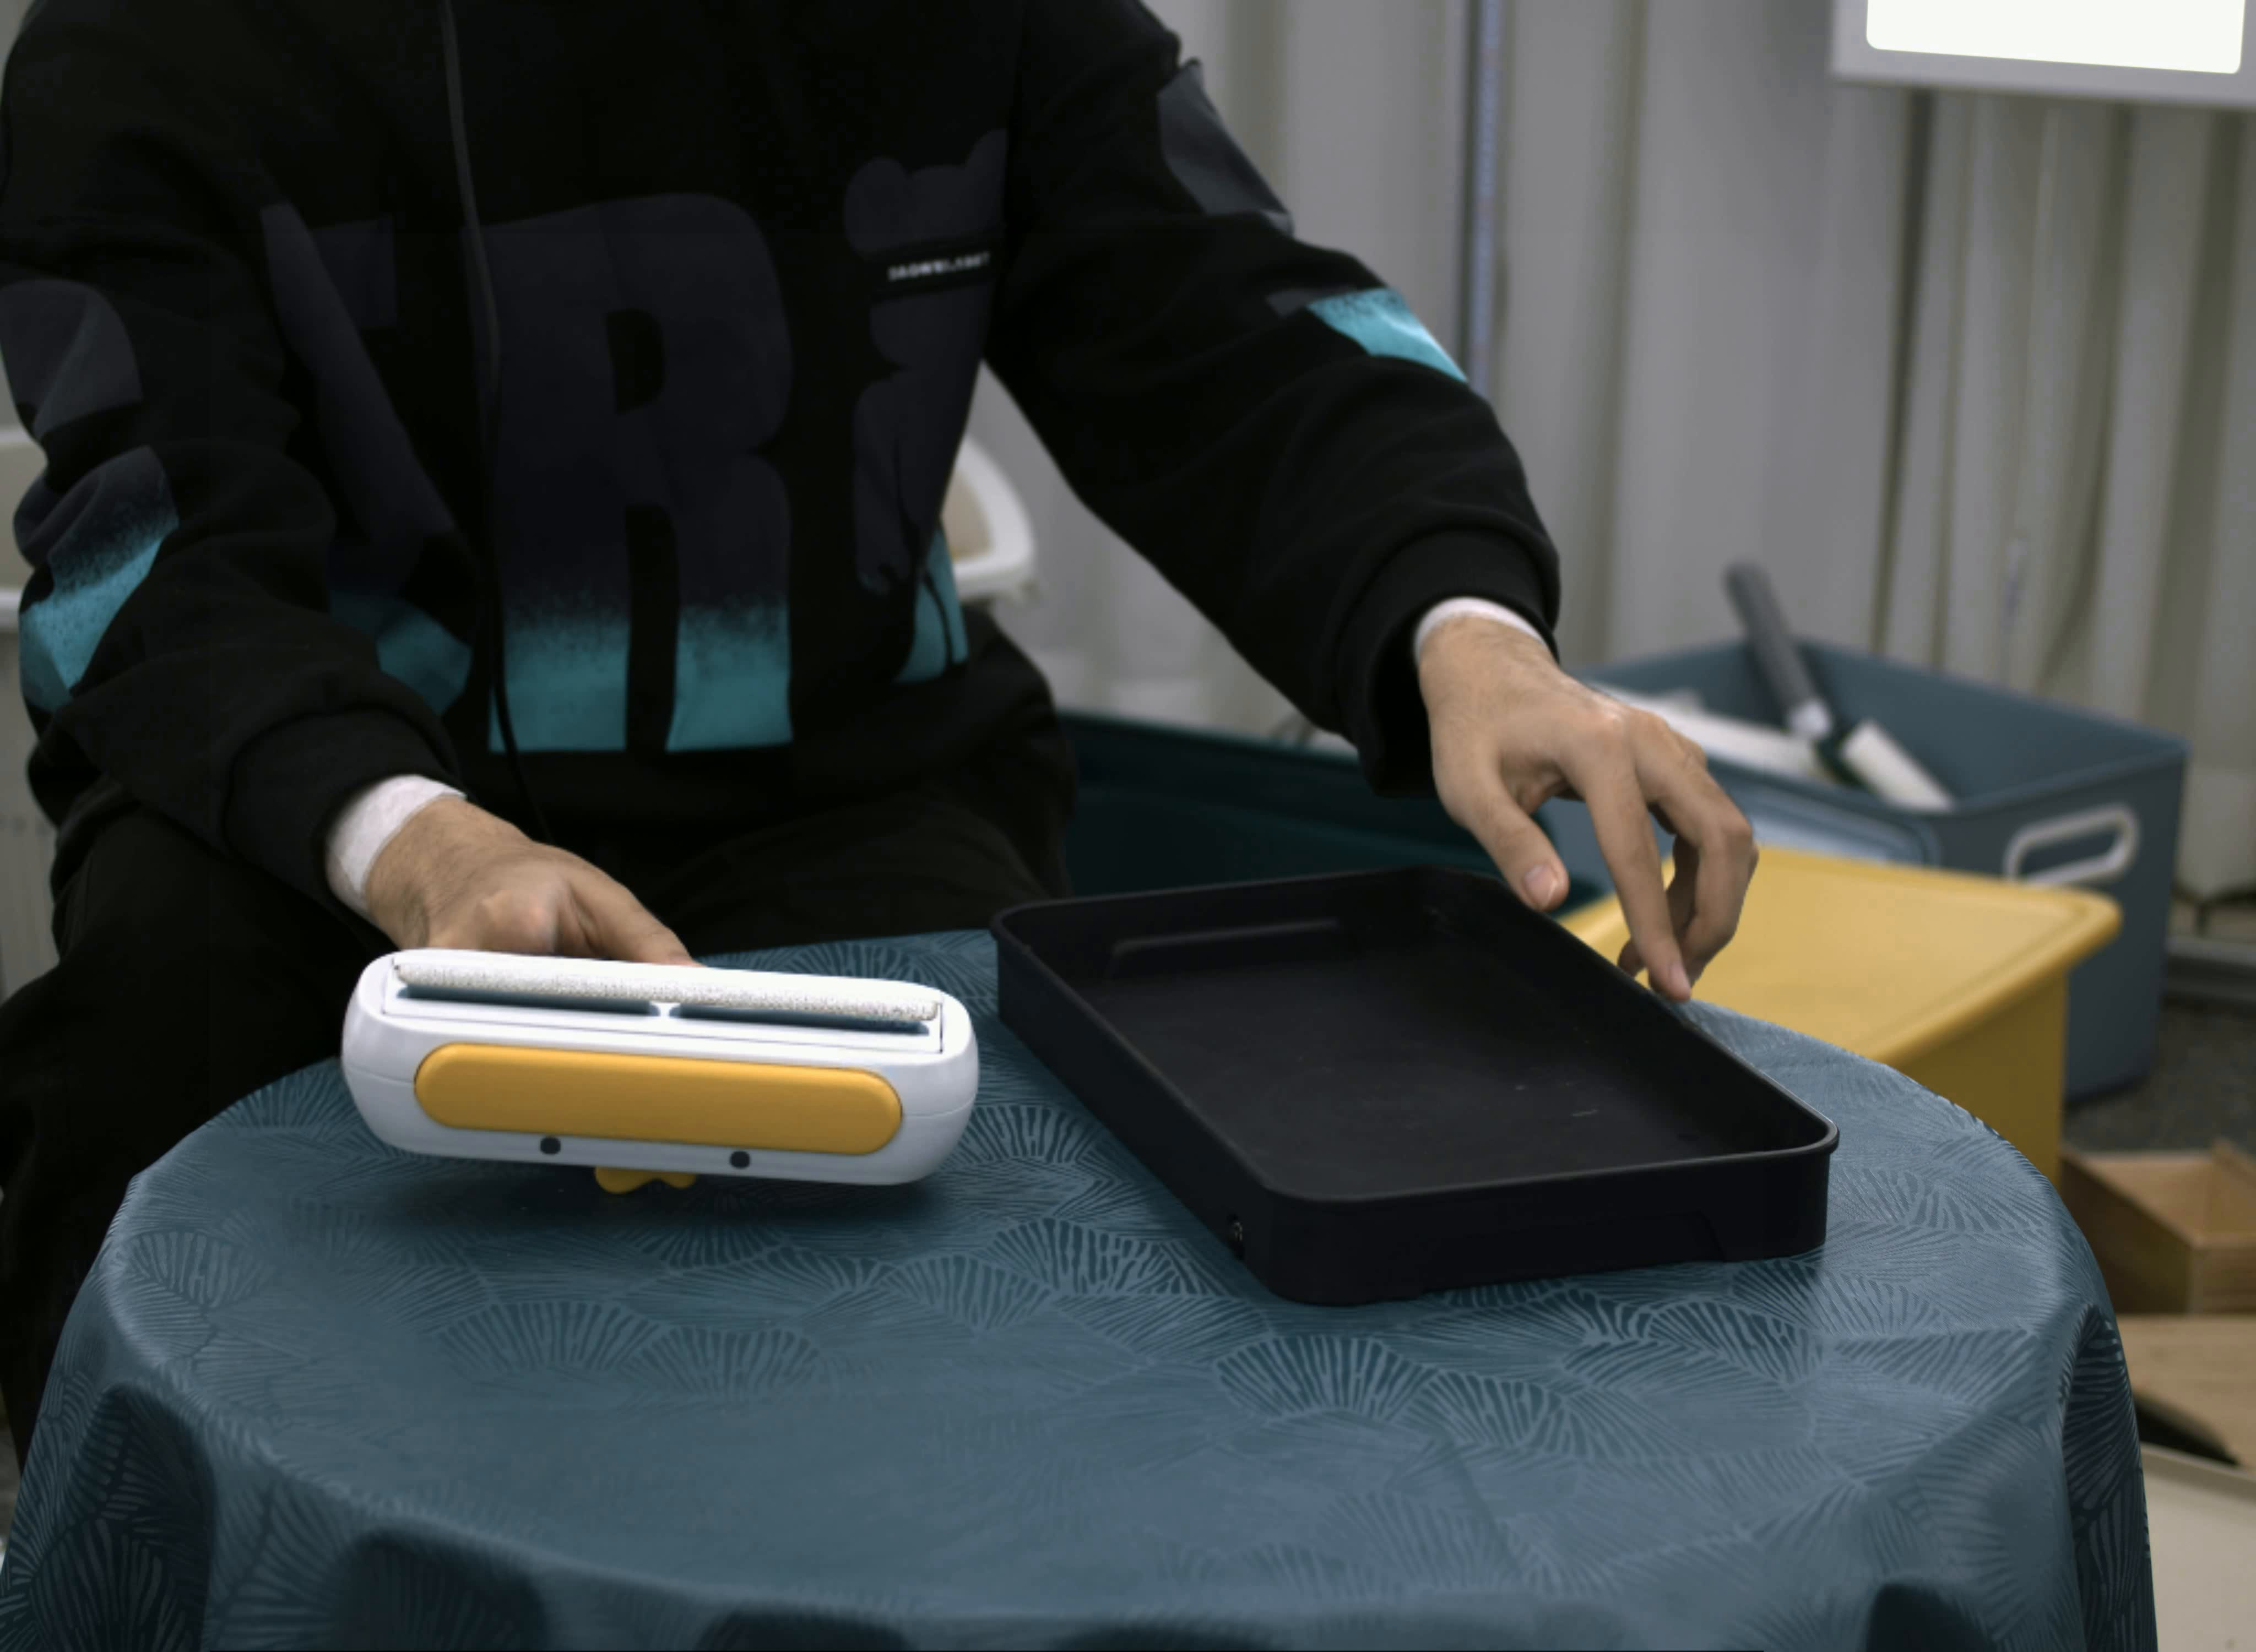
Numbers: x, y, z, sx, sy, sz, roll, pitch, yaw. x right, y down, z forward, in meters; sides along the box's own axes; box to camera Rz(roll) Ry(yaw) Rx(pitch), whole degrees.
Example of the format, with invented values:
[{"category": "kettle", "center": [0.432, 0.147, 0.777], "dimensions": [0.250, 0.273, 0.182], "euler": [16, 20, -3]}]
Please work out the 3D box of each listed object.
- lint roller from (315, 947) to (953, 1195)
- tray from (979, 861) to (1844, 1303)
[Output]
[{"category": "lint roller", "center": [-0.149, 0.065, 1.654], "dimensions": [0.192, 0.075, 0.191], "euler": [1, 15, -1]}, {"category": "tray", "center": [0.082, 0.076, 1.687], "dimensions": [0.185, 0.037, 0.314], "euler": [-6, 17, -19]}]
